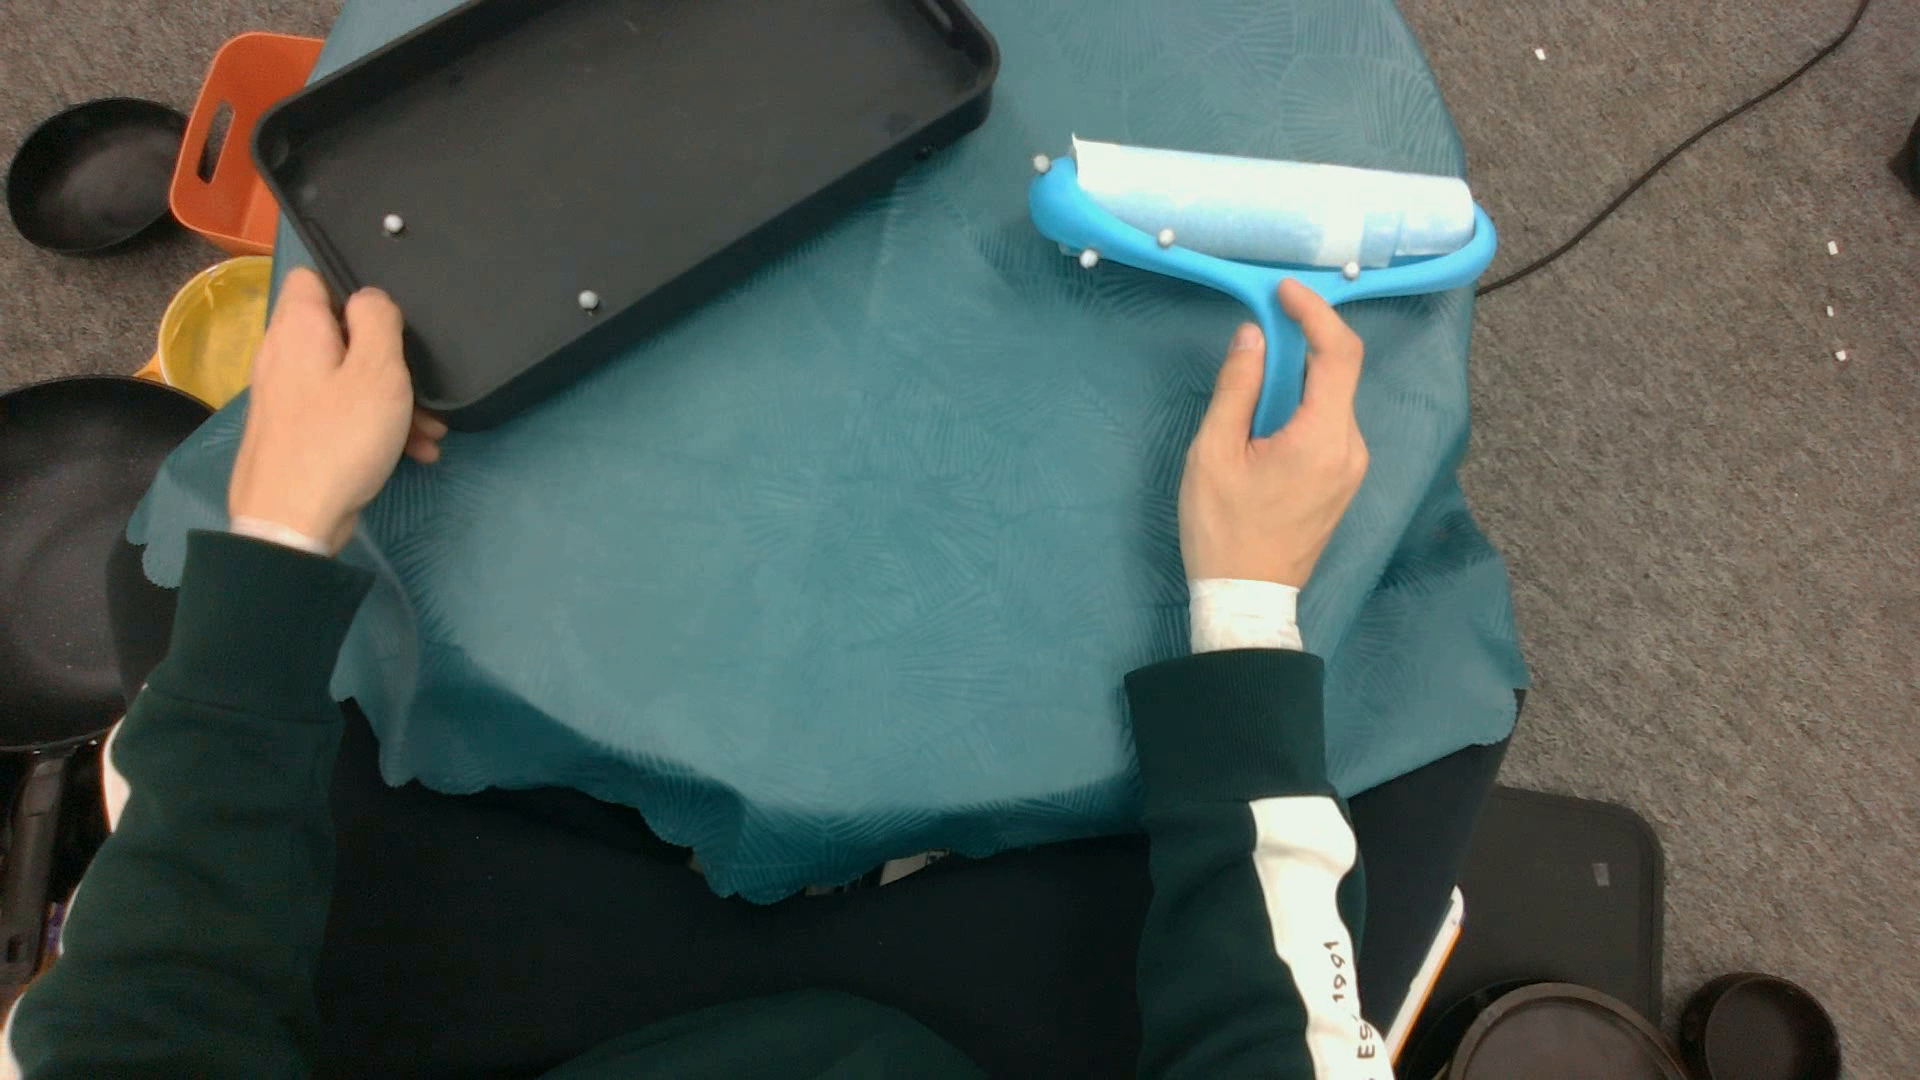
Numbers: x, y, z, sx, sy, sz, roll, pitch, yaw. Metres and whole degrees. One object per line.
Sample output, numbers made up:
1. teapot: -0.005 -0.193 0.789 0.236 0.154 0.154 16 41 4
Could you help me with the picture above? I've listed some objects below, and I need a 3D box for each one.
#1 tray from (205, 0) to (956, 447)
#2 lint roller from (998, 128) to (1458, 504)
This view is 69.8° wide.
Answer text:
1. tray: -0.173 -0.197 0.659 0.319 0.037 0.184 -38 77 -14
2. lint roller: 0.135 -0.112 0.657 0.229 0.067 0.181 0 71 -11
